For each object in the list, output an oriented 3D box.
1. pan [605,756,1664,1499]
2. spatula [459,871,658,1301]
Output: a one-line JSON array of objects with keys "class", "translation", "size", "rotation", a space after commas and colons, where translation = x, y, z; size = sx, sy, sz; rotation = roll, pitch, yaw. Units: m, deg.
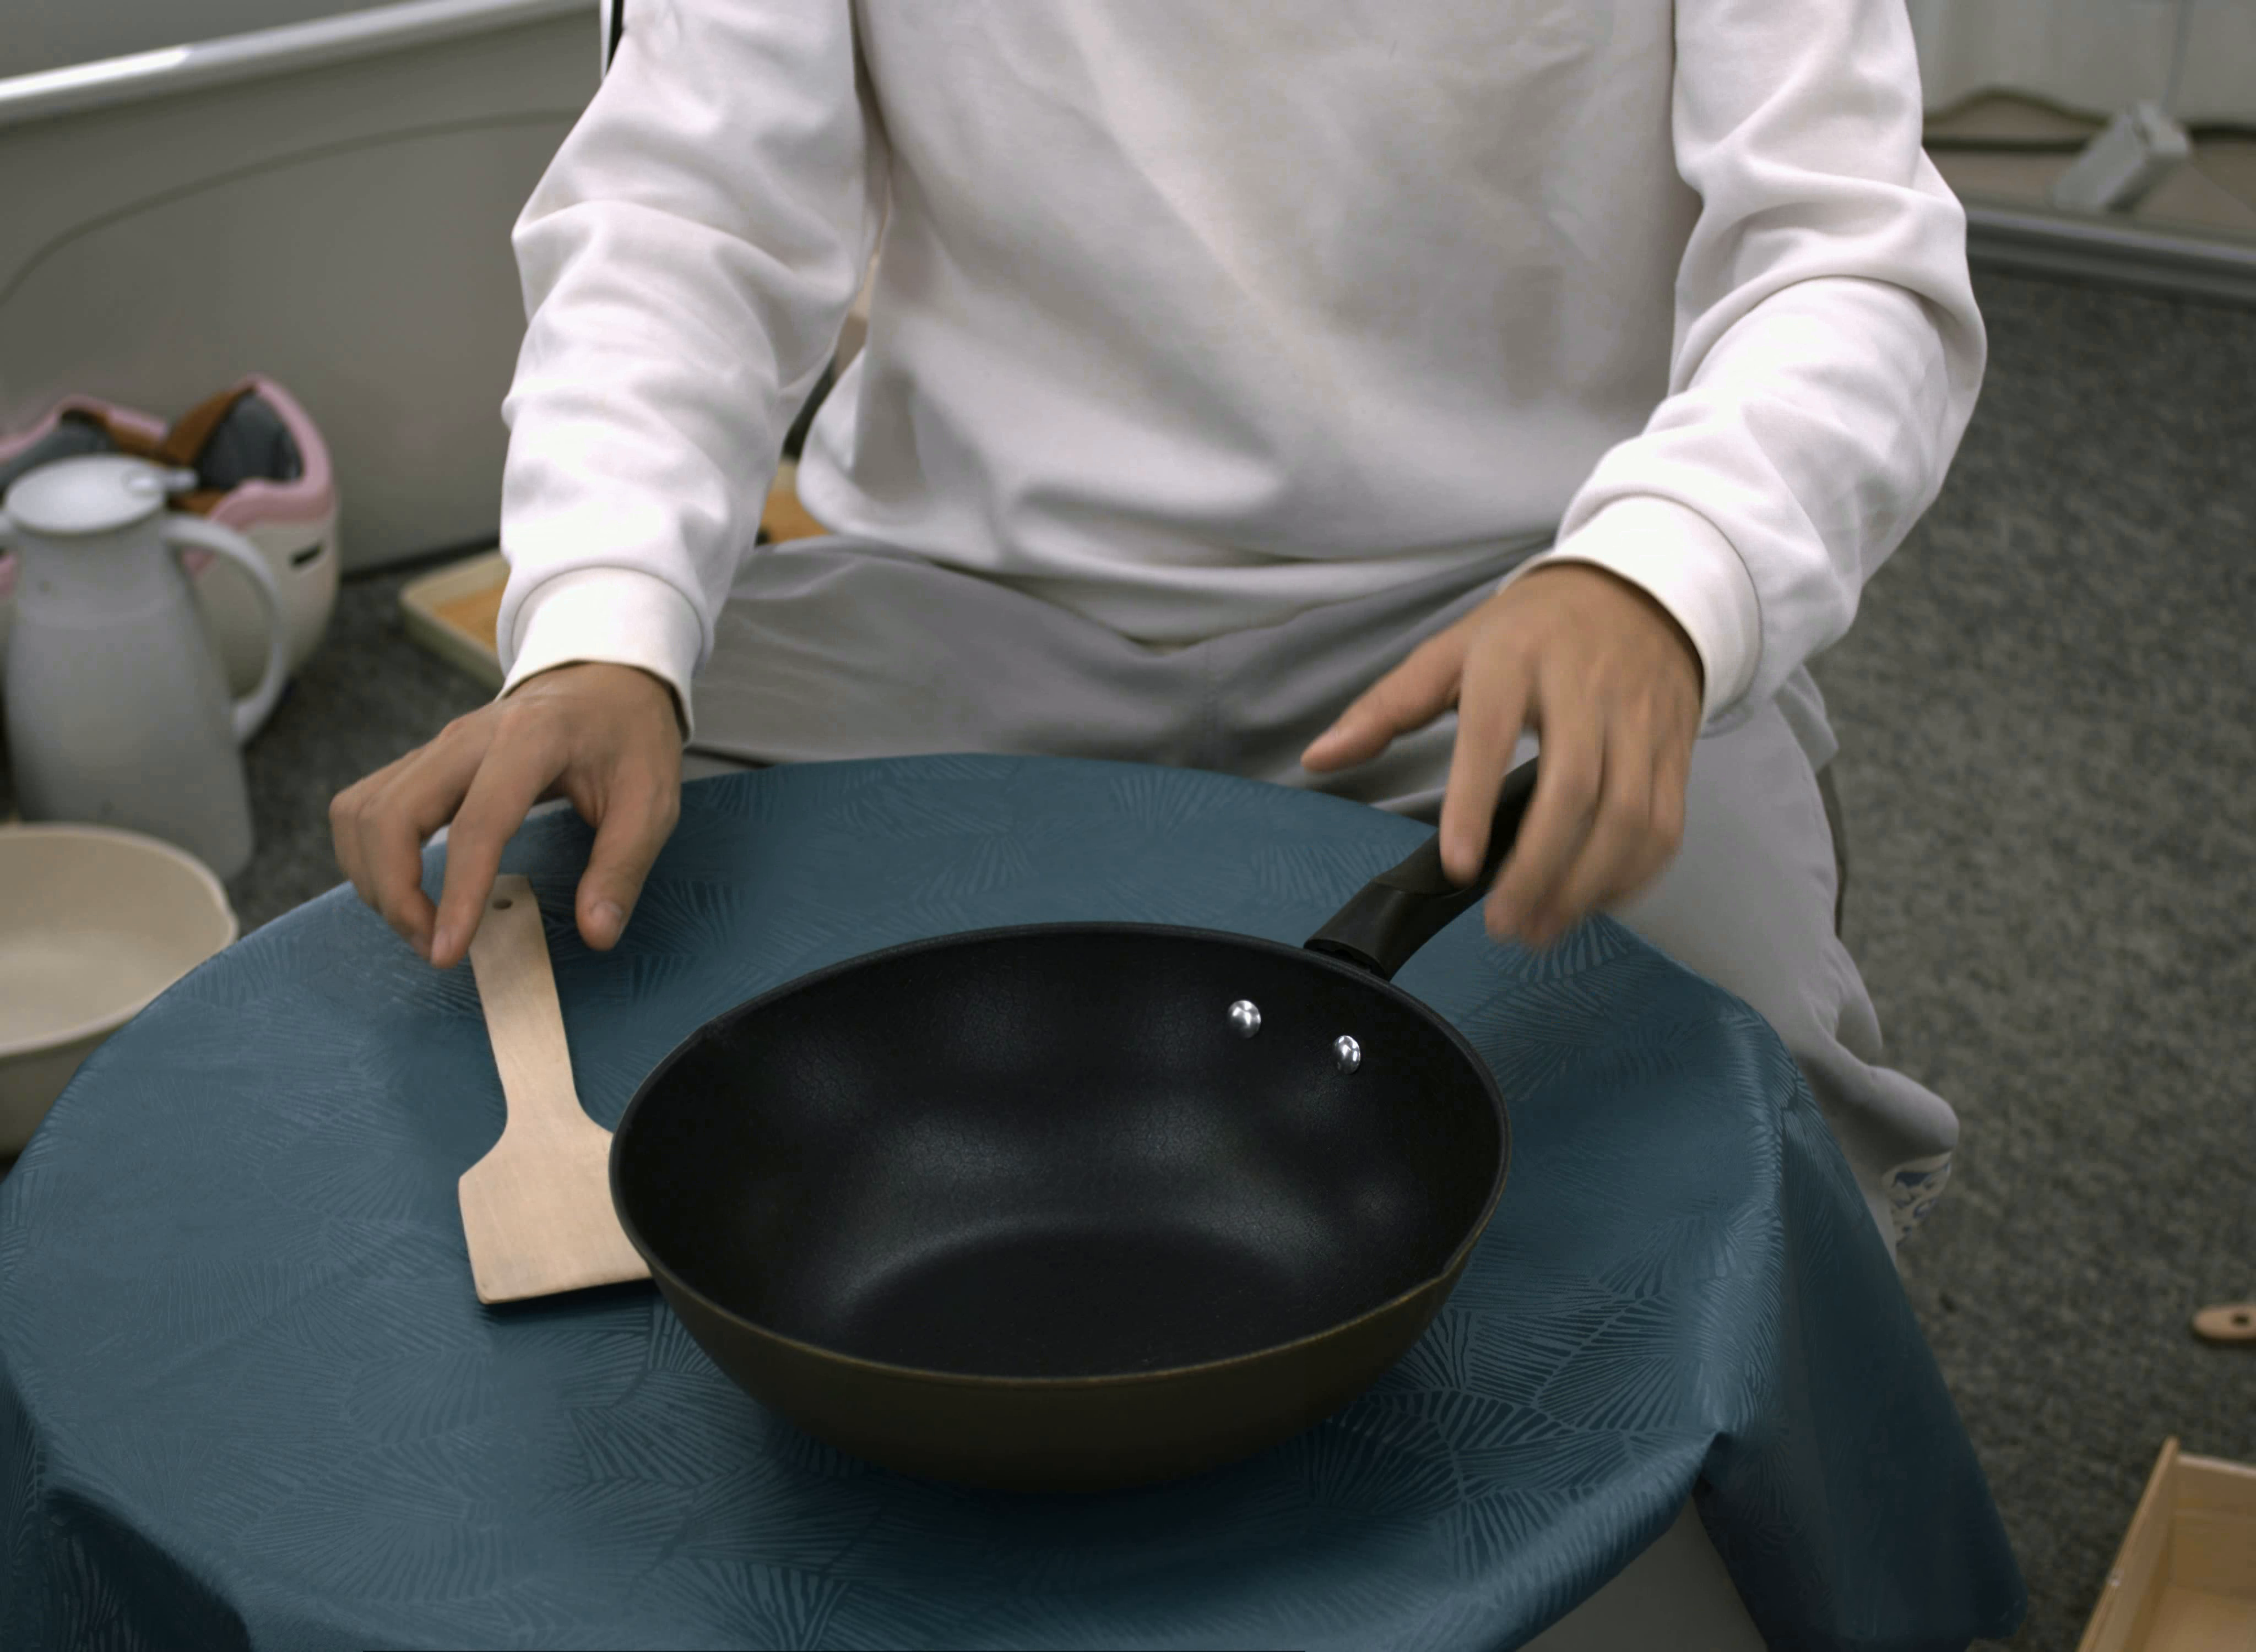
[{"class": "pan", "translation": [0.034, 0.095, 1.824], "size": [0.287, 0.086, 0.470], "rotation": [17, 32, 32]}, {"class": "spatula", "translation": [-0.205, 0.086, 1.943], "size": [0.072, 0.010, 0.296], "rotation": [-9, 28, -9]}]
